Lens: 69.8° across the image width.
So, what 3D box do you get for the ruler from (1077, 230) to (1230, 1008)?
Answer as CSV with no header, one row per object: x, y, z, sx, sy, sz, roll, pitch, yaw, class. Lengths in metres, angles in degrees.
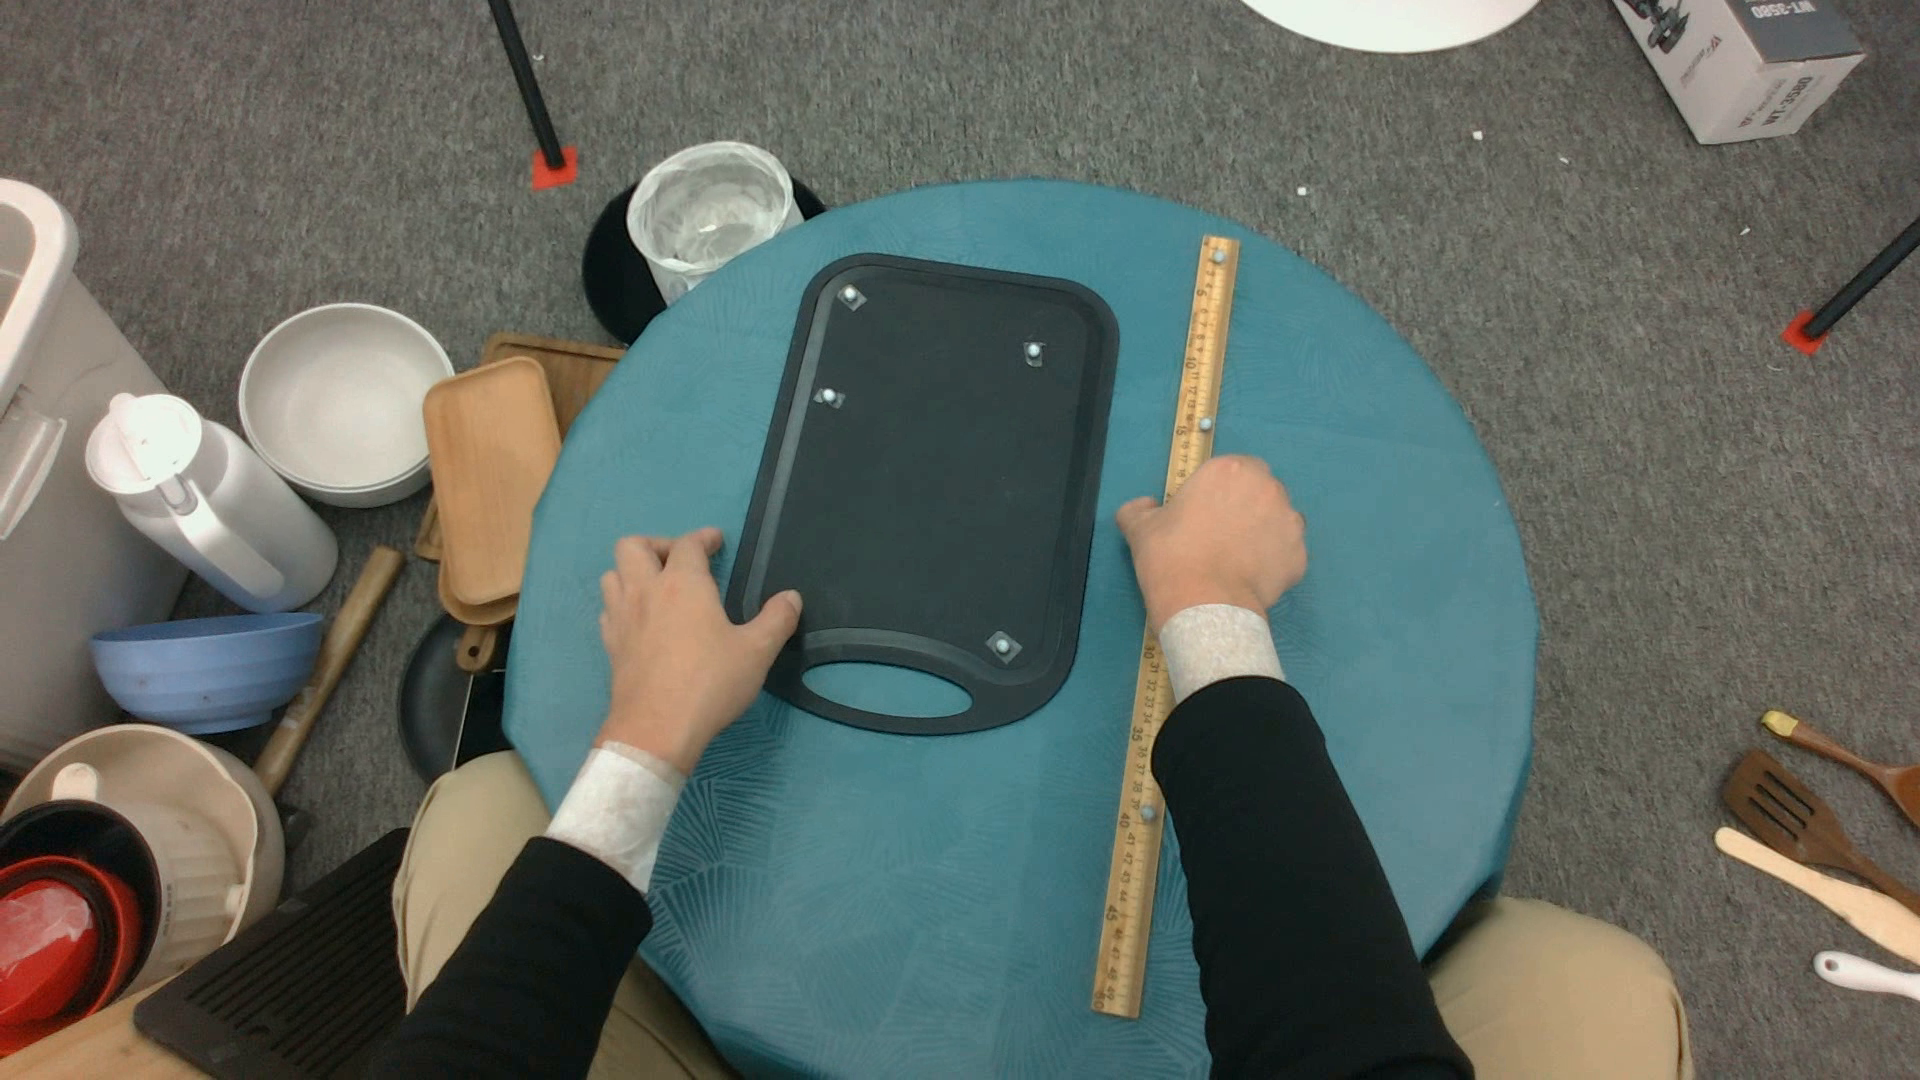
0.120,0.018,0.817,0.027,0.006,0.502,9,66,6,ruler

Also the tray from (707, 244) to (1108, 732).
-0.027,-0.041,0.841,0.211,0.010,0.326,9,66,4,tray
